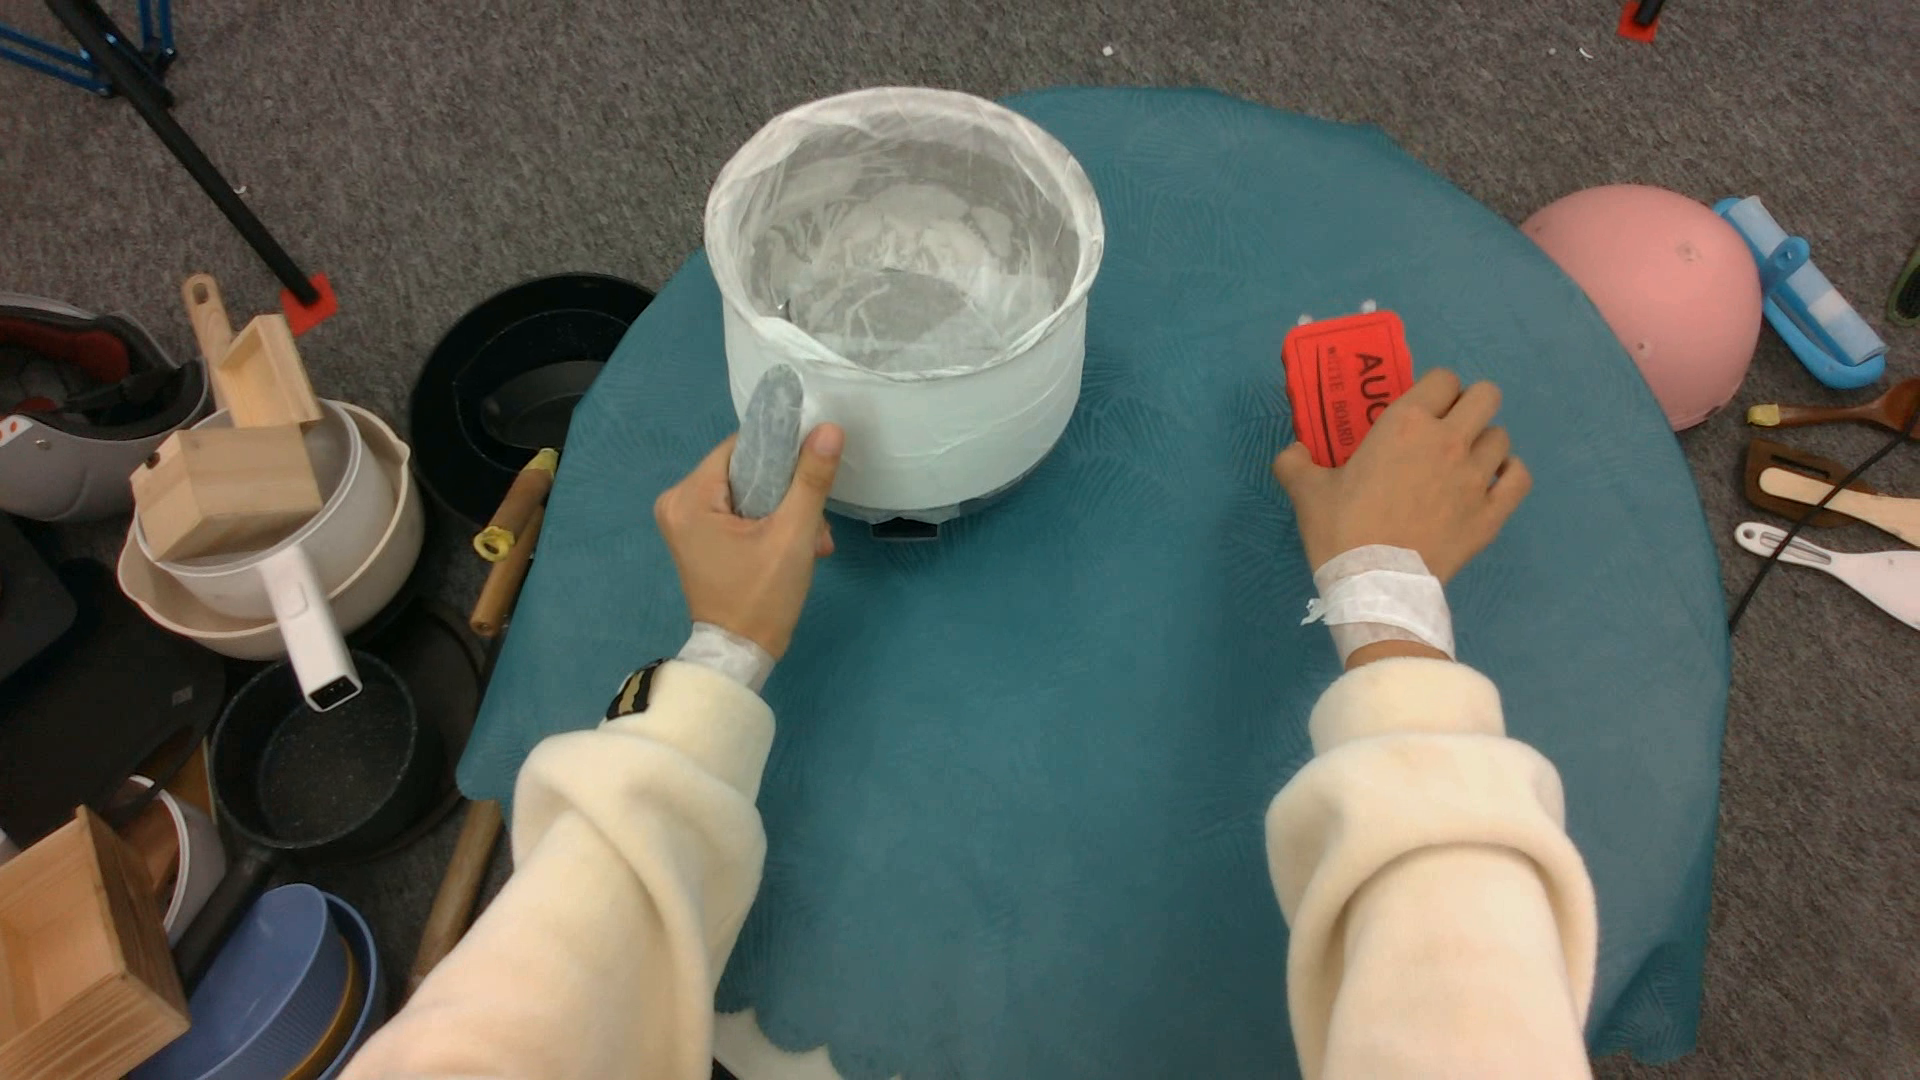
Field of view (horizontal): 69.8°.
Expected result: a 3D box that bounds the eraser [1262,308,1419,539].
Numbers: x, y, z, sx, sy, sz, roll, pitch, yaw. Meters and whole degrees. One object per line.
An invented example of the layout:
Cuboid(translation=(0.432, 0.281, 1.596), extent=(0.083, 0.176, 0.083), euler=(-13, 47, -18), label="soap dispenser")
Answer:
Cuboid(translation=(0.186, -0.057, 0.677), extent=(0.059, 0.023, 0.108), euler=(-10, 80, 6), label="eraser")

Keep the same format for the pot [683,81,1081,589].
Cuboid(translation=(-0.048, -0.090, 0.650), extent=(0.178, 0.136, 0.235), euler=(23, 59, 12), label="pot")
